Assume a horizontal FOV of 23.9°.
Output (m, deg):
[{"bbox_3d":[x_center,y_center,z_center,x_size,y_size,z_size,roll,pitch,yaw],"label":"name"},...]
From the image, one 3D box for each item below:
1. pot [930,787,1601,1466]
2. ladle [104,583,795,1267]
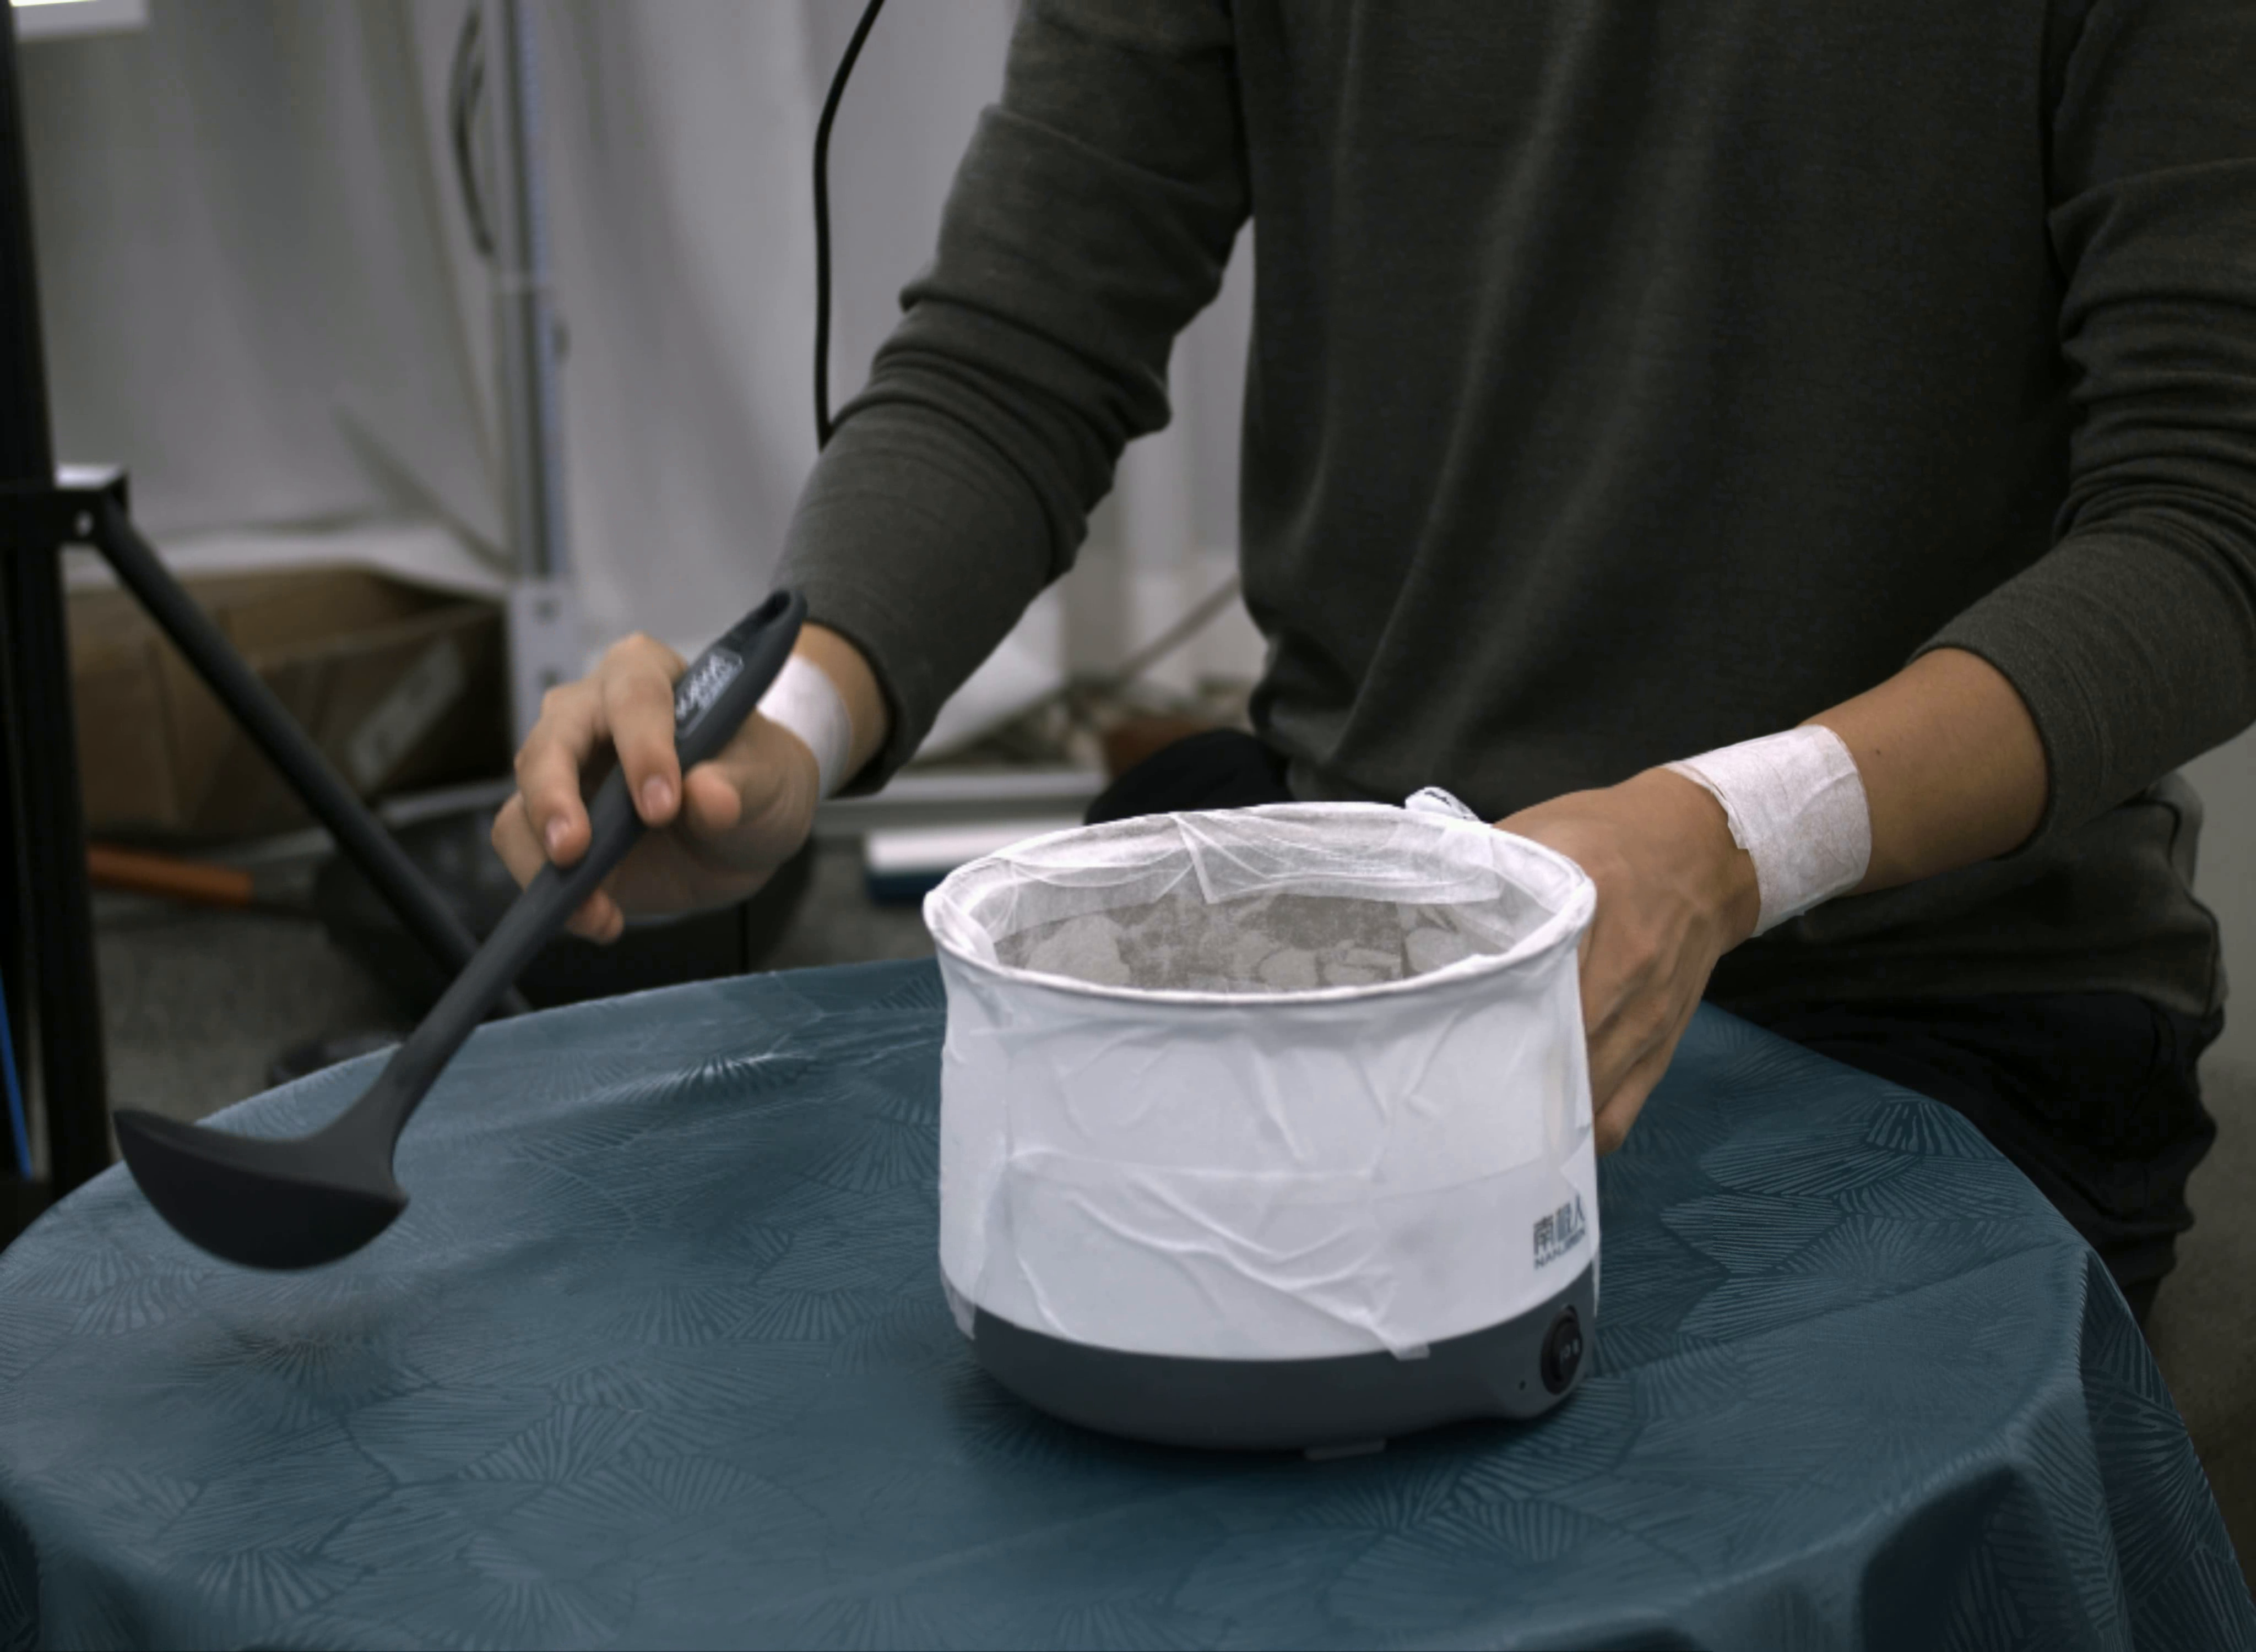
[{"bbox_3d":[0.051,0.073,1.428,0.182,0.136,0.229,7,18,30],"label":"pot"},{"bbox_3d":[-0.179,0.012,1.536,0.087,0.063,0.312,19,49,21],"label":"ladle"}]
